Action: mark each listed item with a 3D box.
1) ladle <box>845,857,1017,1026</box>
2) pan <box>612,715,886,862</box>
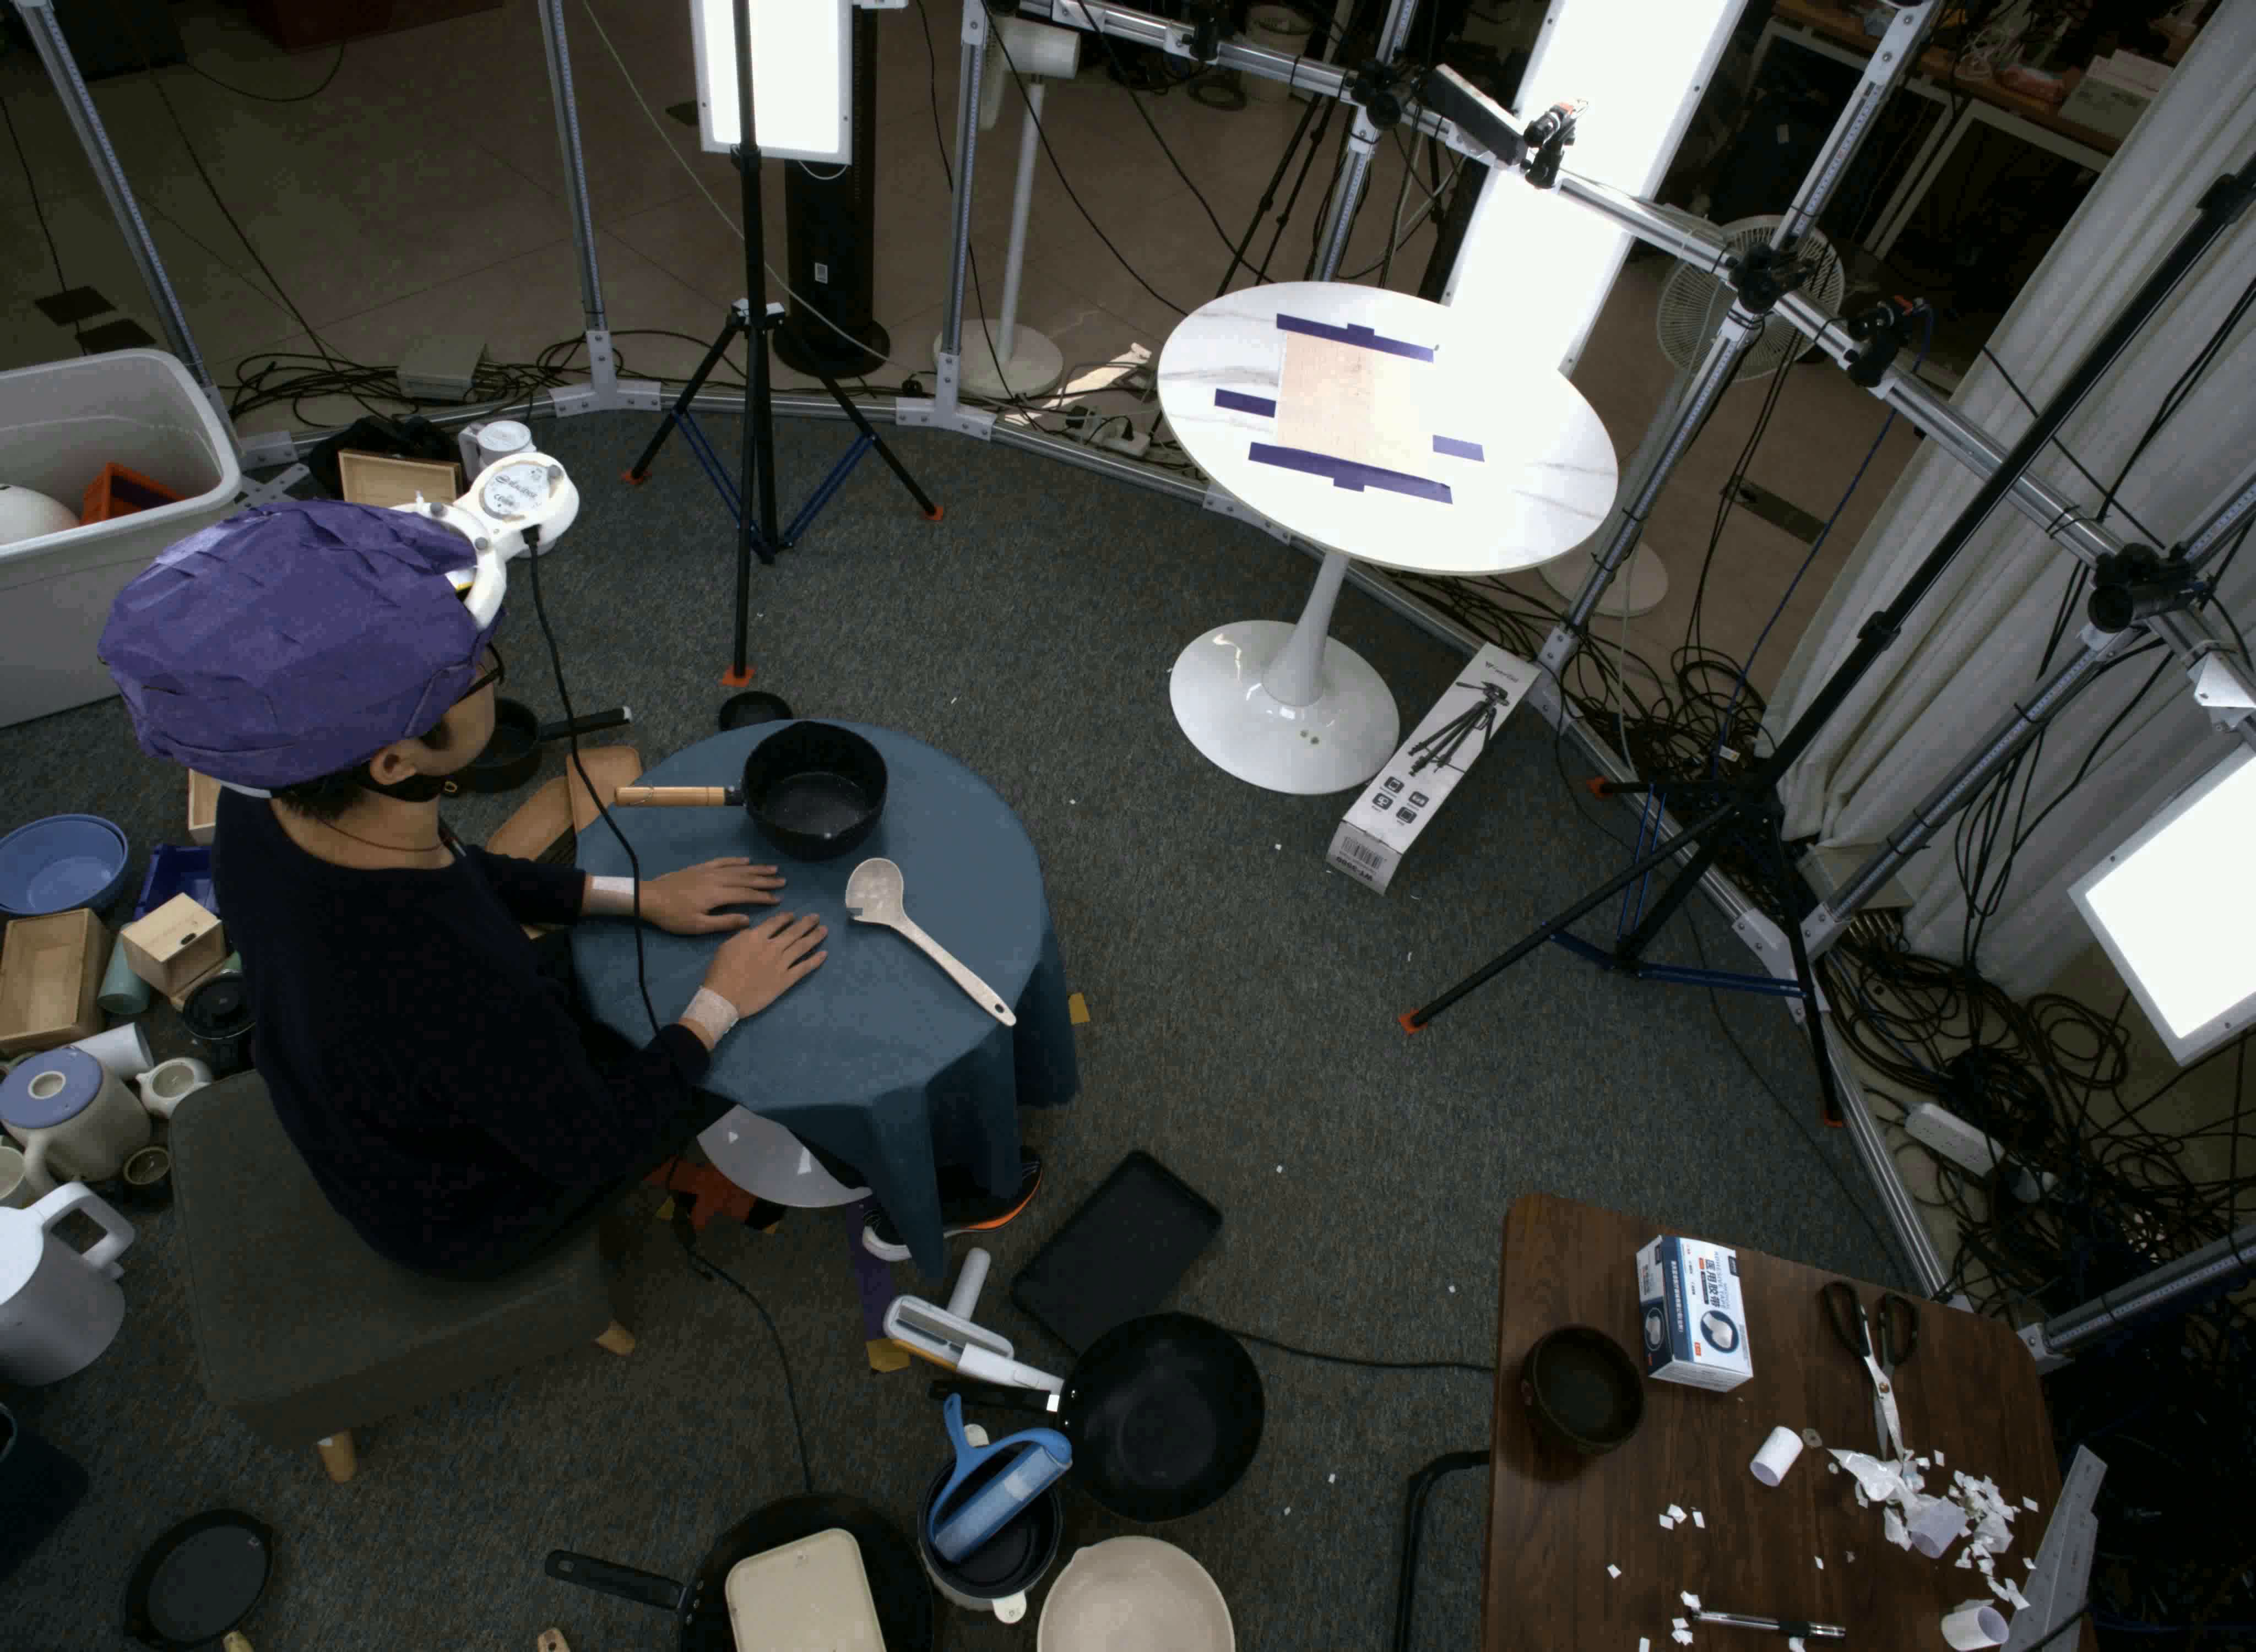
[{"bbox_3d":[-0.238,0.142,1.615,0.270,0.070,0.089,37,47,12],"label":"ladle"},{"bbox_3d":[-0.481,-0.034,1.654,0.345,0.110,0.202,-9,57,-23],"label":"pan"}]
